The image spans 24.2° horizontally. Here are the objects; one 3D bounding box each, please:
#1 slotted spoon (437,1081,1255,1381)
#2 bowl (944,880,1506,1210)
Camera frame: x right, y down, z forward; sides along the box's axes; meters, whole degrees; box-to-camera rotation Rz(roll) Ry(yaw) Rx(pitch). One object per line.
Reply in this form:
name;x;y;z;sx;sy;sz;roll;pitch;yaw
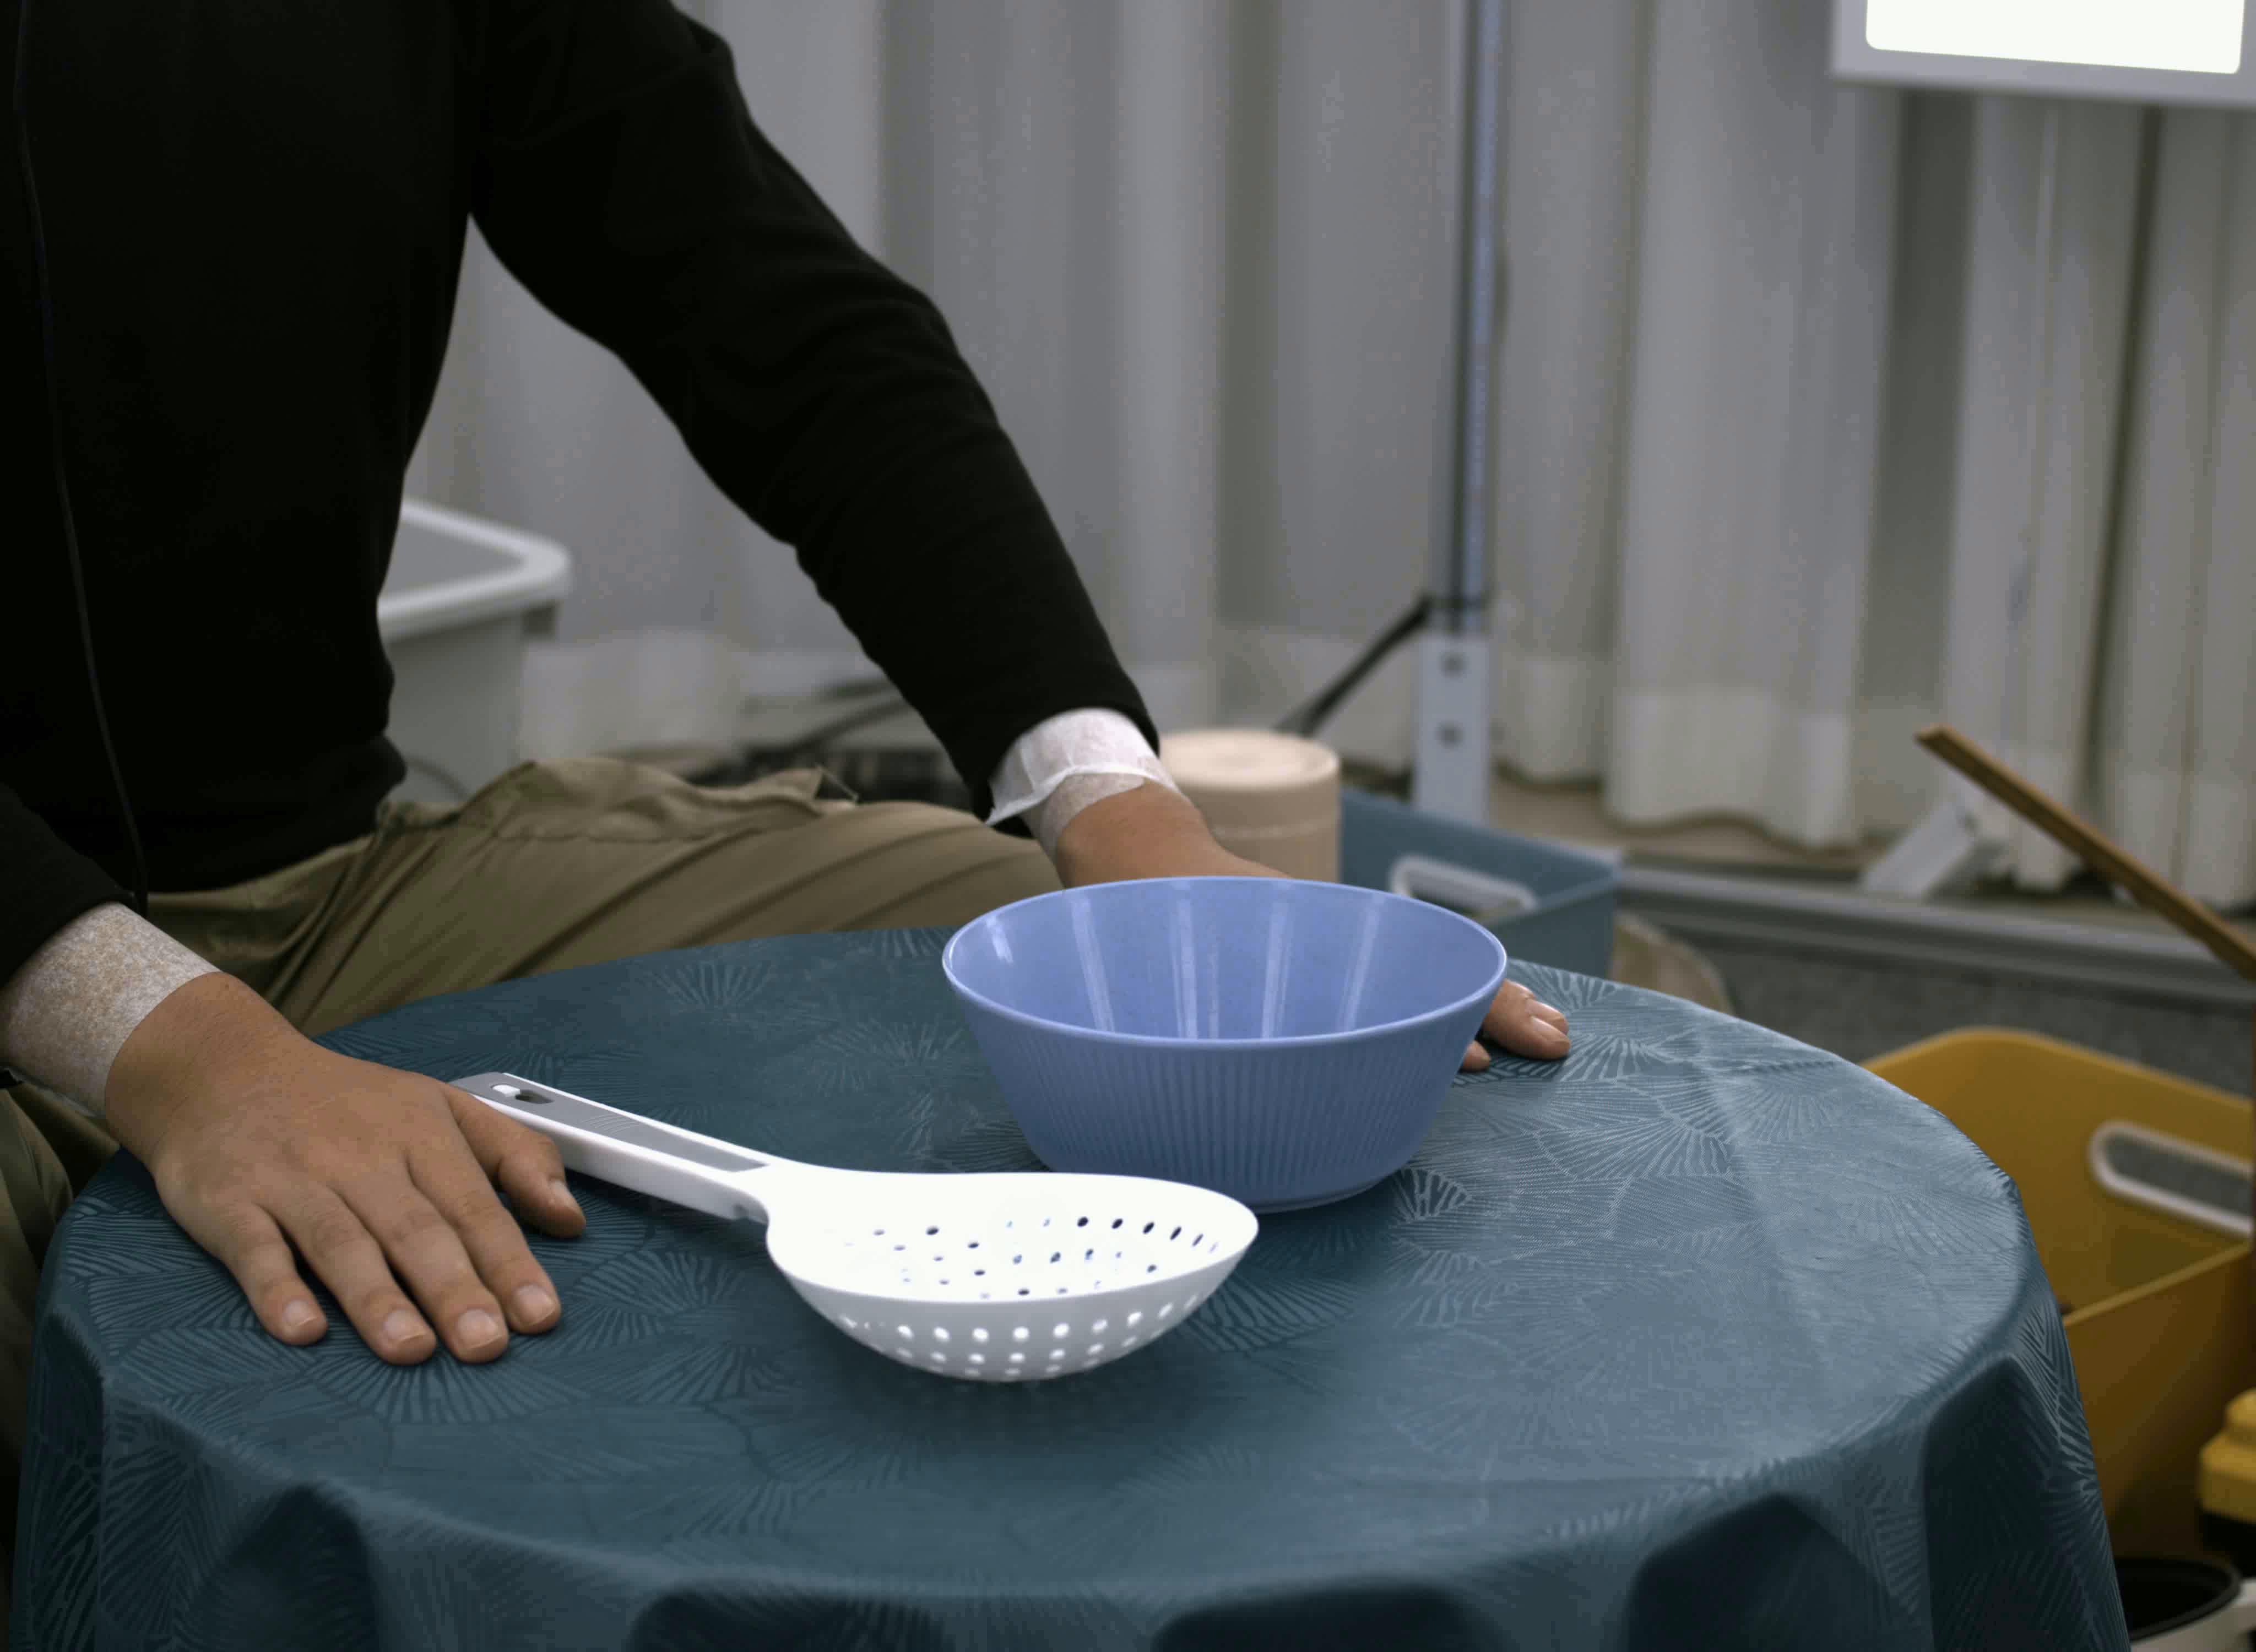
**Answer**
slotted spoon;-0.101;0.109;1.546;0.137;0.046;0.345;-12;19;-39
bowl;0.030;0.070;1.641;0.175;0.071;0.175;0;15;0
